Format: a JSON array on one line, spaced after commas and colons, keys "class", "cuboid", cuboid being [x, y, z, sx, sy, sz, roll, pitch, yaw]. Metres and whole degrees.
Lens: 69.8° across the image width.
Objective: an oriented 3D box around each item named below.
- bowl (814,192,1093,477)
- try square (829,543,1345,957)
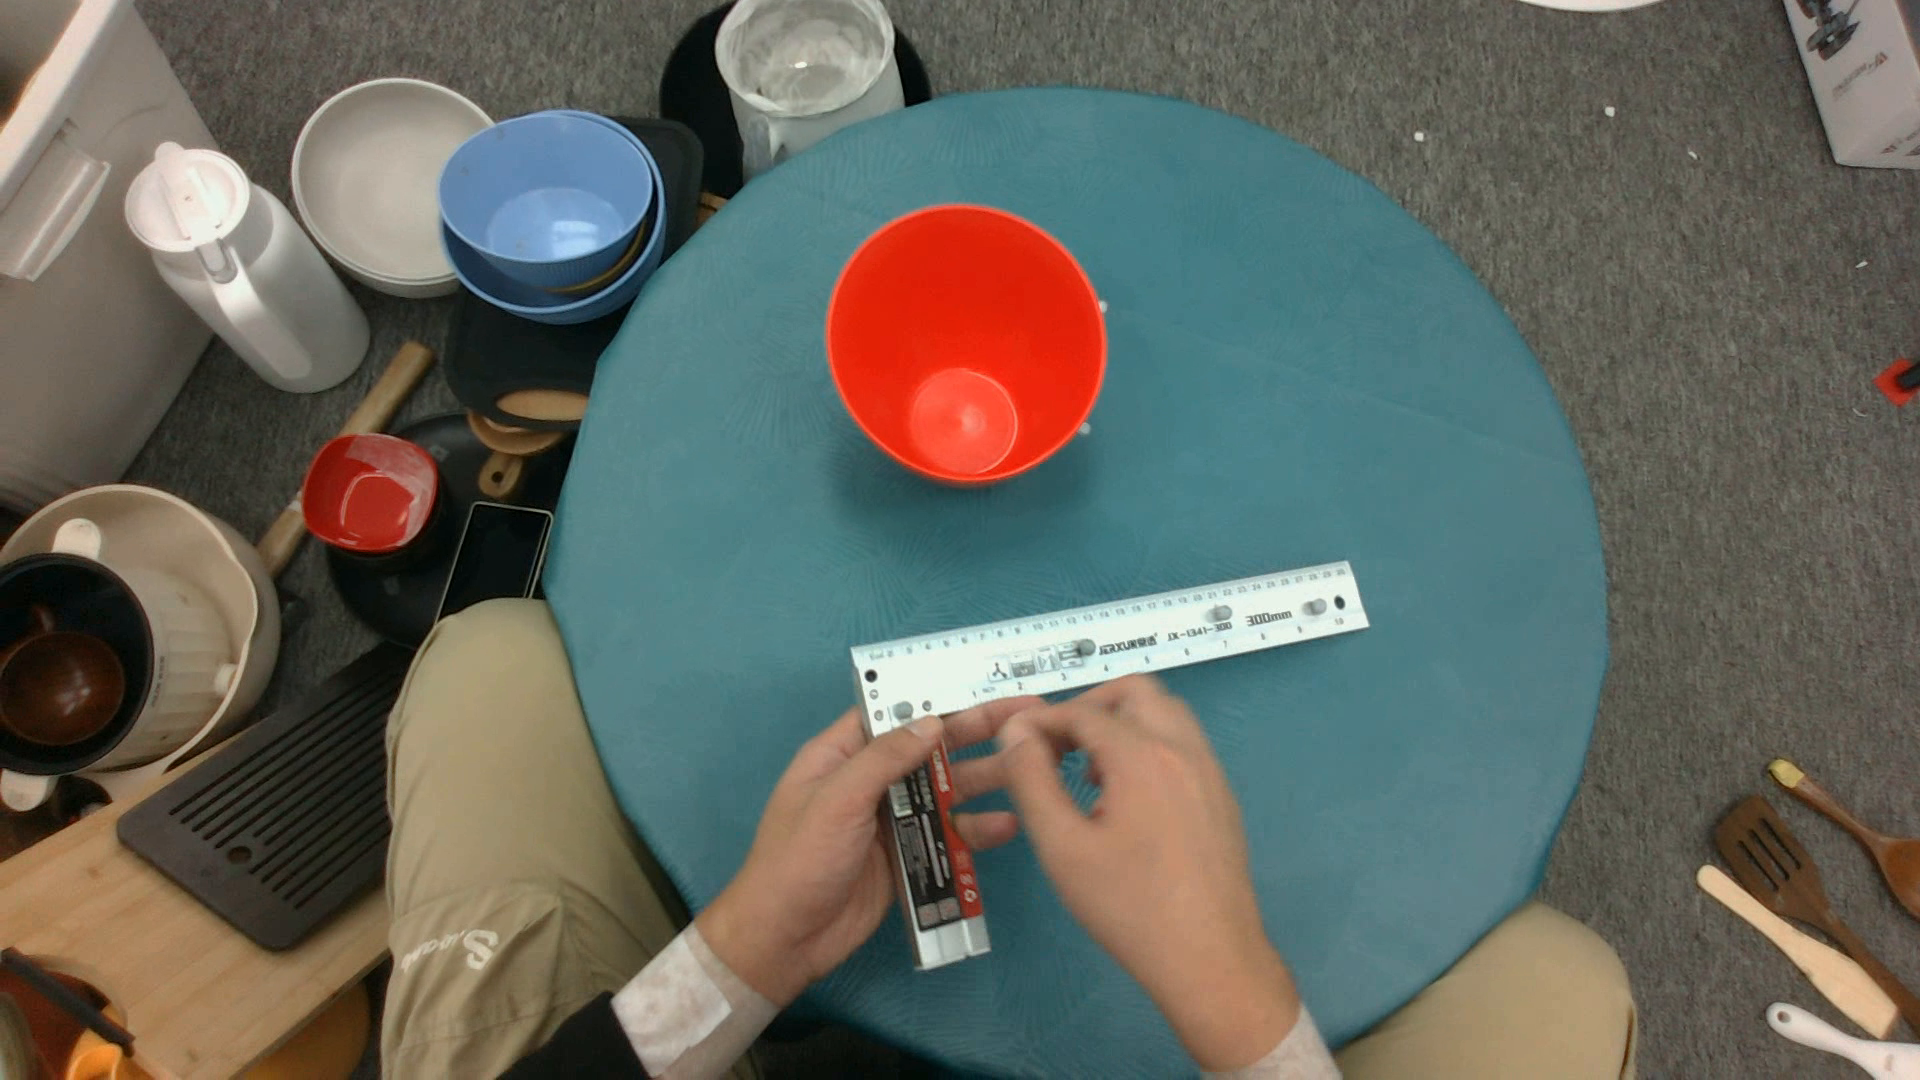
[{"class": "bowl", "cuboid": [-0.006, -0.099, 0.757, 0.148, 0.104, 0.148, 2, 72, -6]}, {"class": "try square", "cuboid": [0.090, 0.095, 0.704, 0.314, 0.016, 0.152, -8, 79, -28]}]
